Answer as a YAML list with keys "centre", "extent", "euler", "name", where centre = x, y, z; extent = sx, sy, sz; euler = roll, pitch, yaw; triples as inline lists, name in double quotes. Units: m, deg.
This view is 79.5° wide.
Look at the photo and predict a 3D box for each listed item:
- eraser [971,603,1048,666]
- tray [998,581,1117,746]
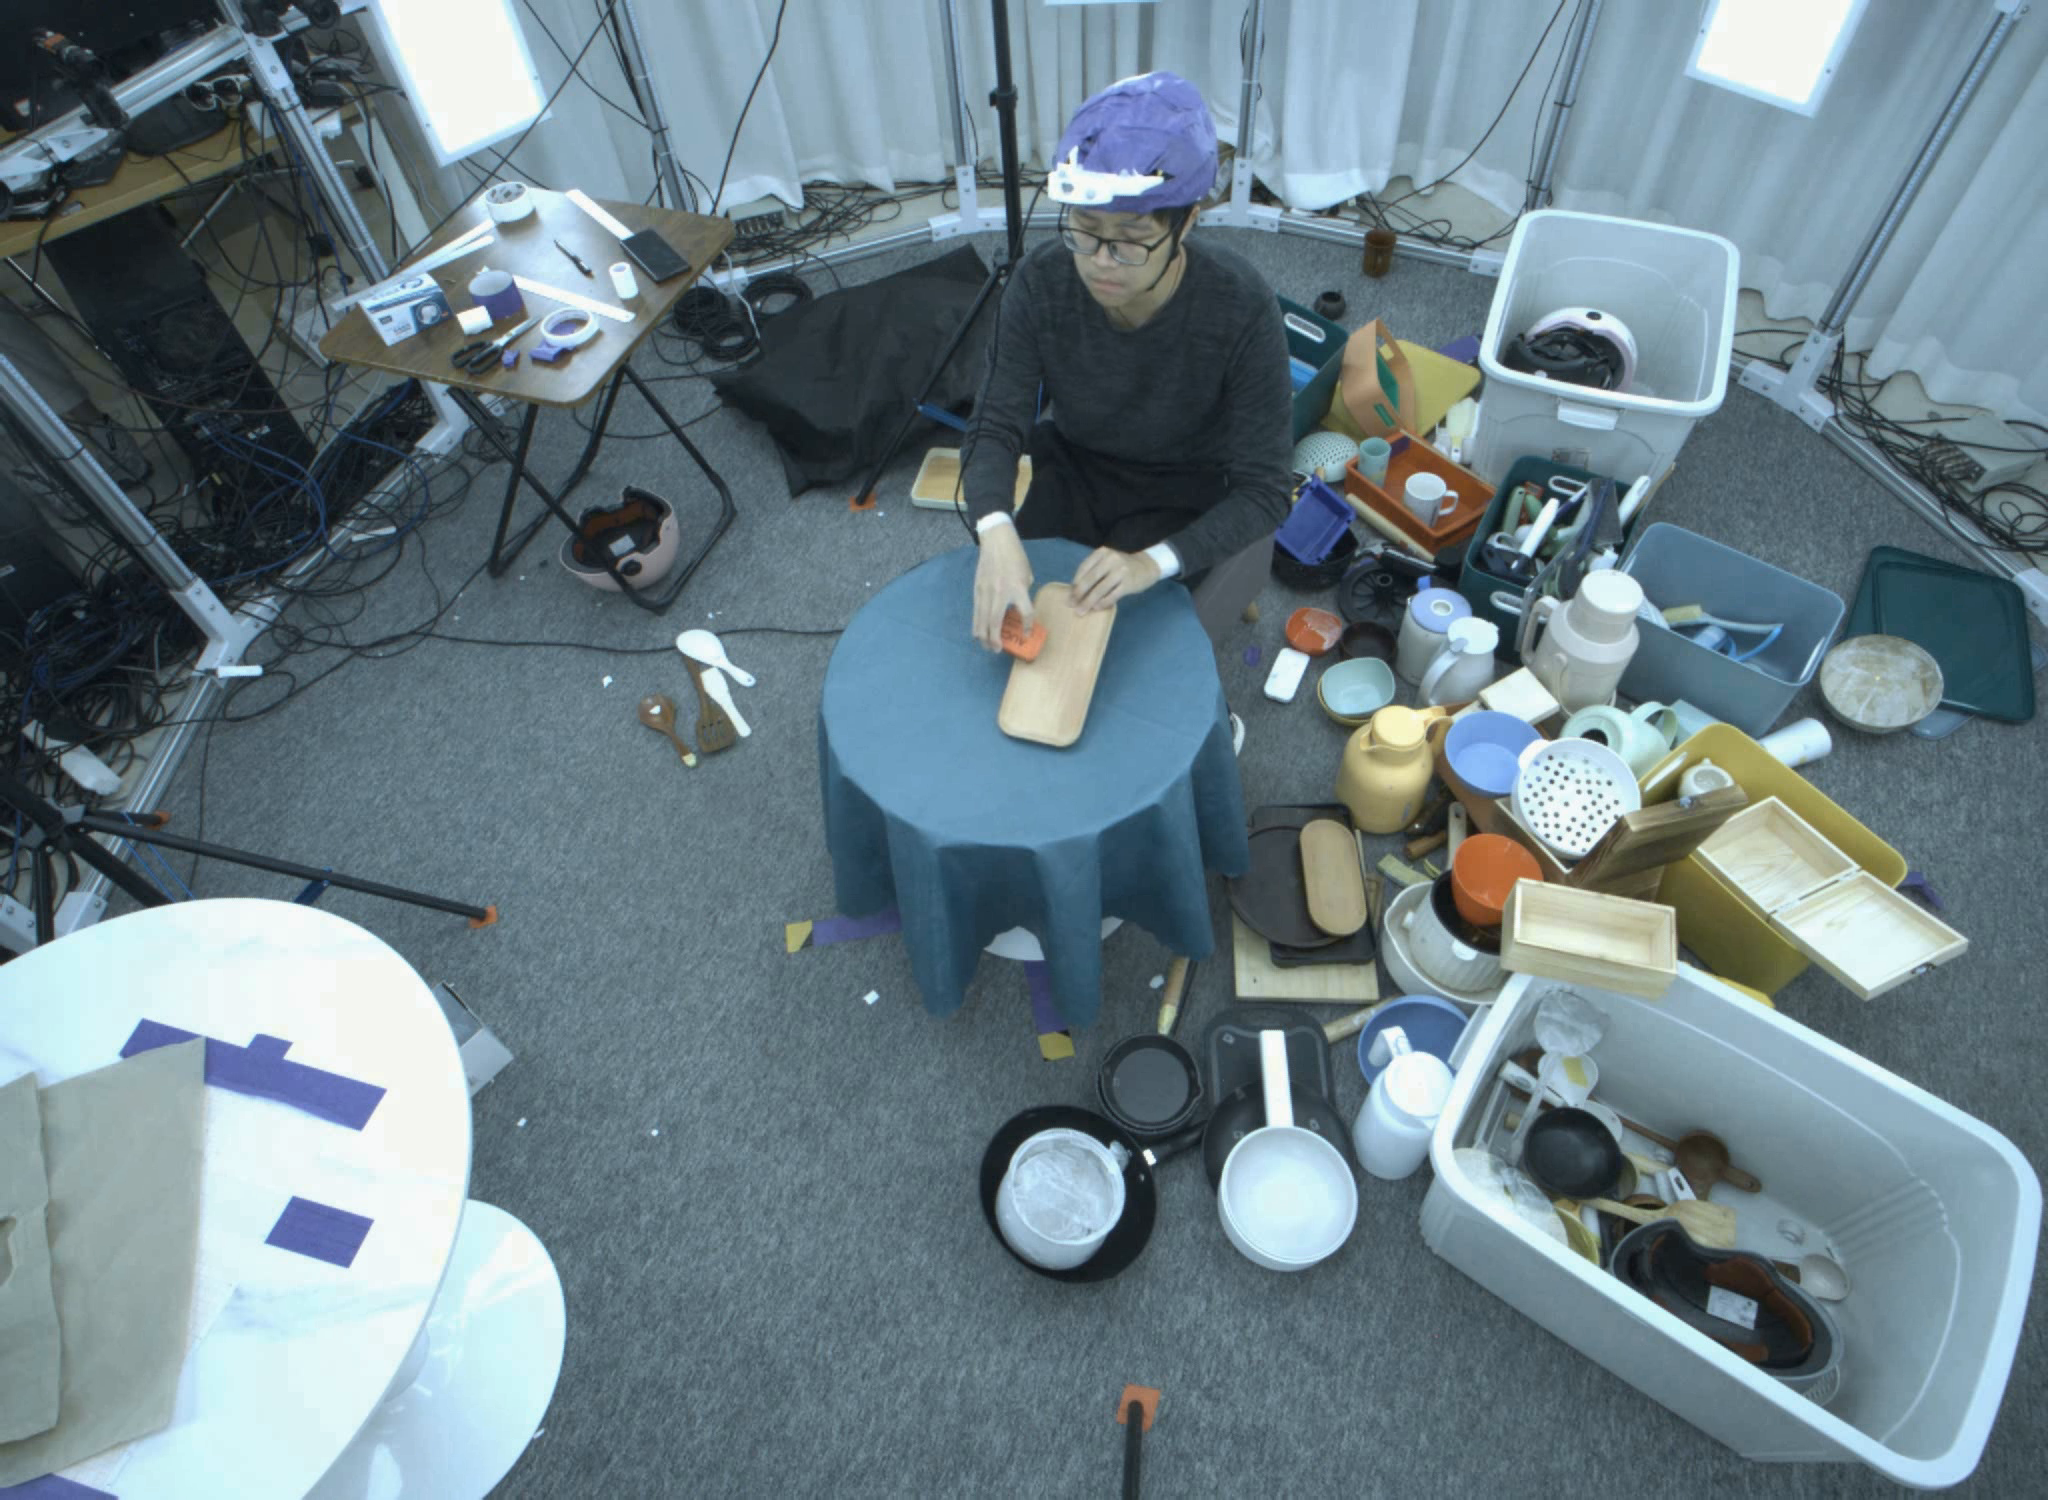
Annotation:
- centre: [-0.022, -0.172, 1.825]
  extent: [0.106, 0.023, 0.059]
  euler: [28, 76, 16]
  name: "eraser"
- centre: [0.050, -0.129, 1.818]
  extent: [0.129, 0.023, 0.250]
  euler: [14, 76, 12]
  name: "tray"
